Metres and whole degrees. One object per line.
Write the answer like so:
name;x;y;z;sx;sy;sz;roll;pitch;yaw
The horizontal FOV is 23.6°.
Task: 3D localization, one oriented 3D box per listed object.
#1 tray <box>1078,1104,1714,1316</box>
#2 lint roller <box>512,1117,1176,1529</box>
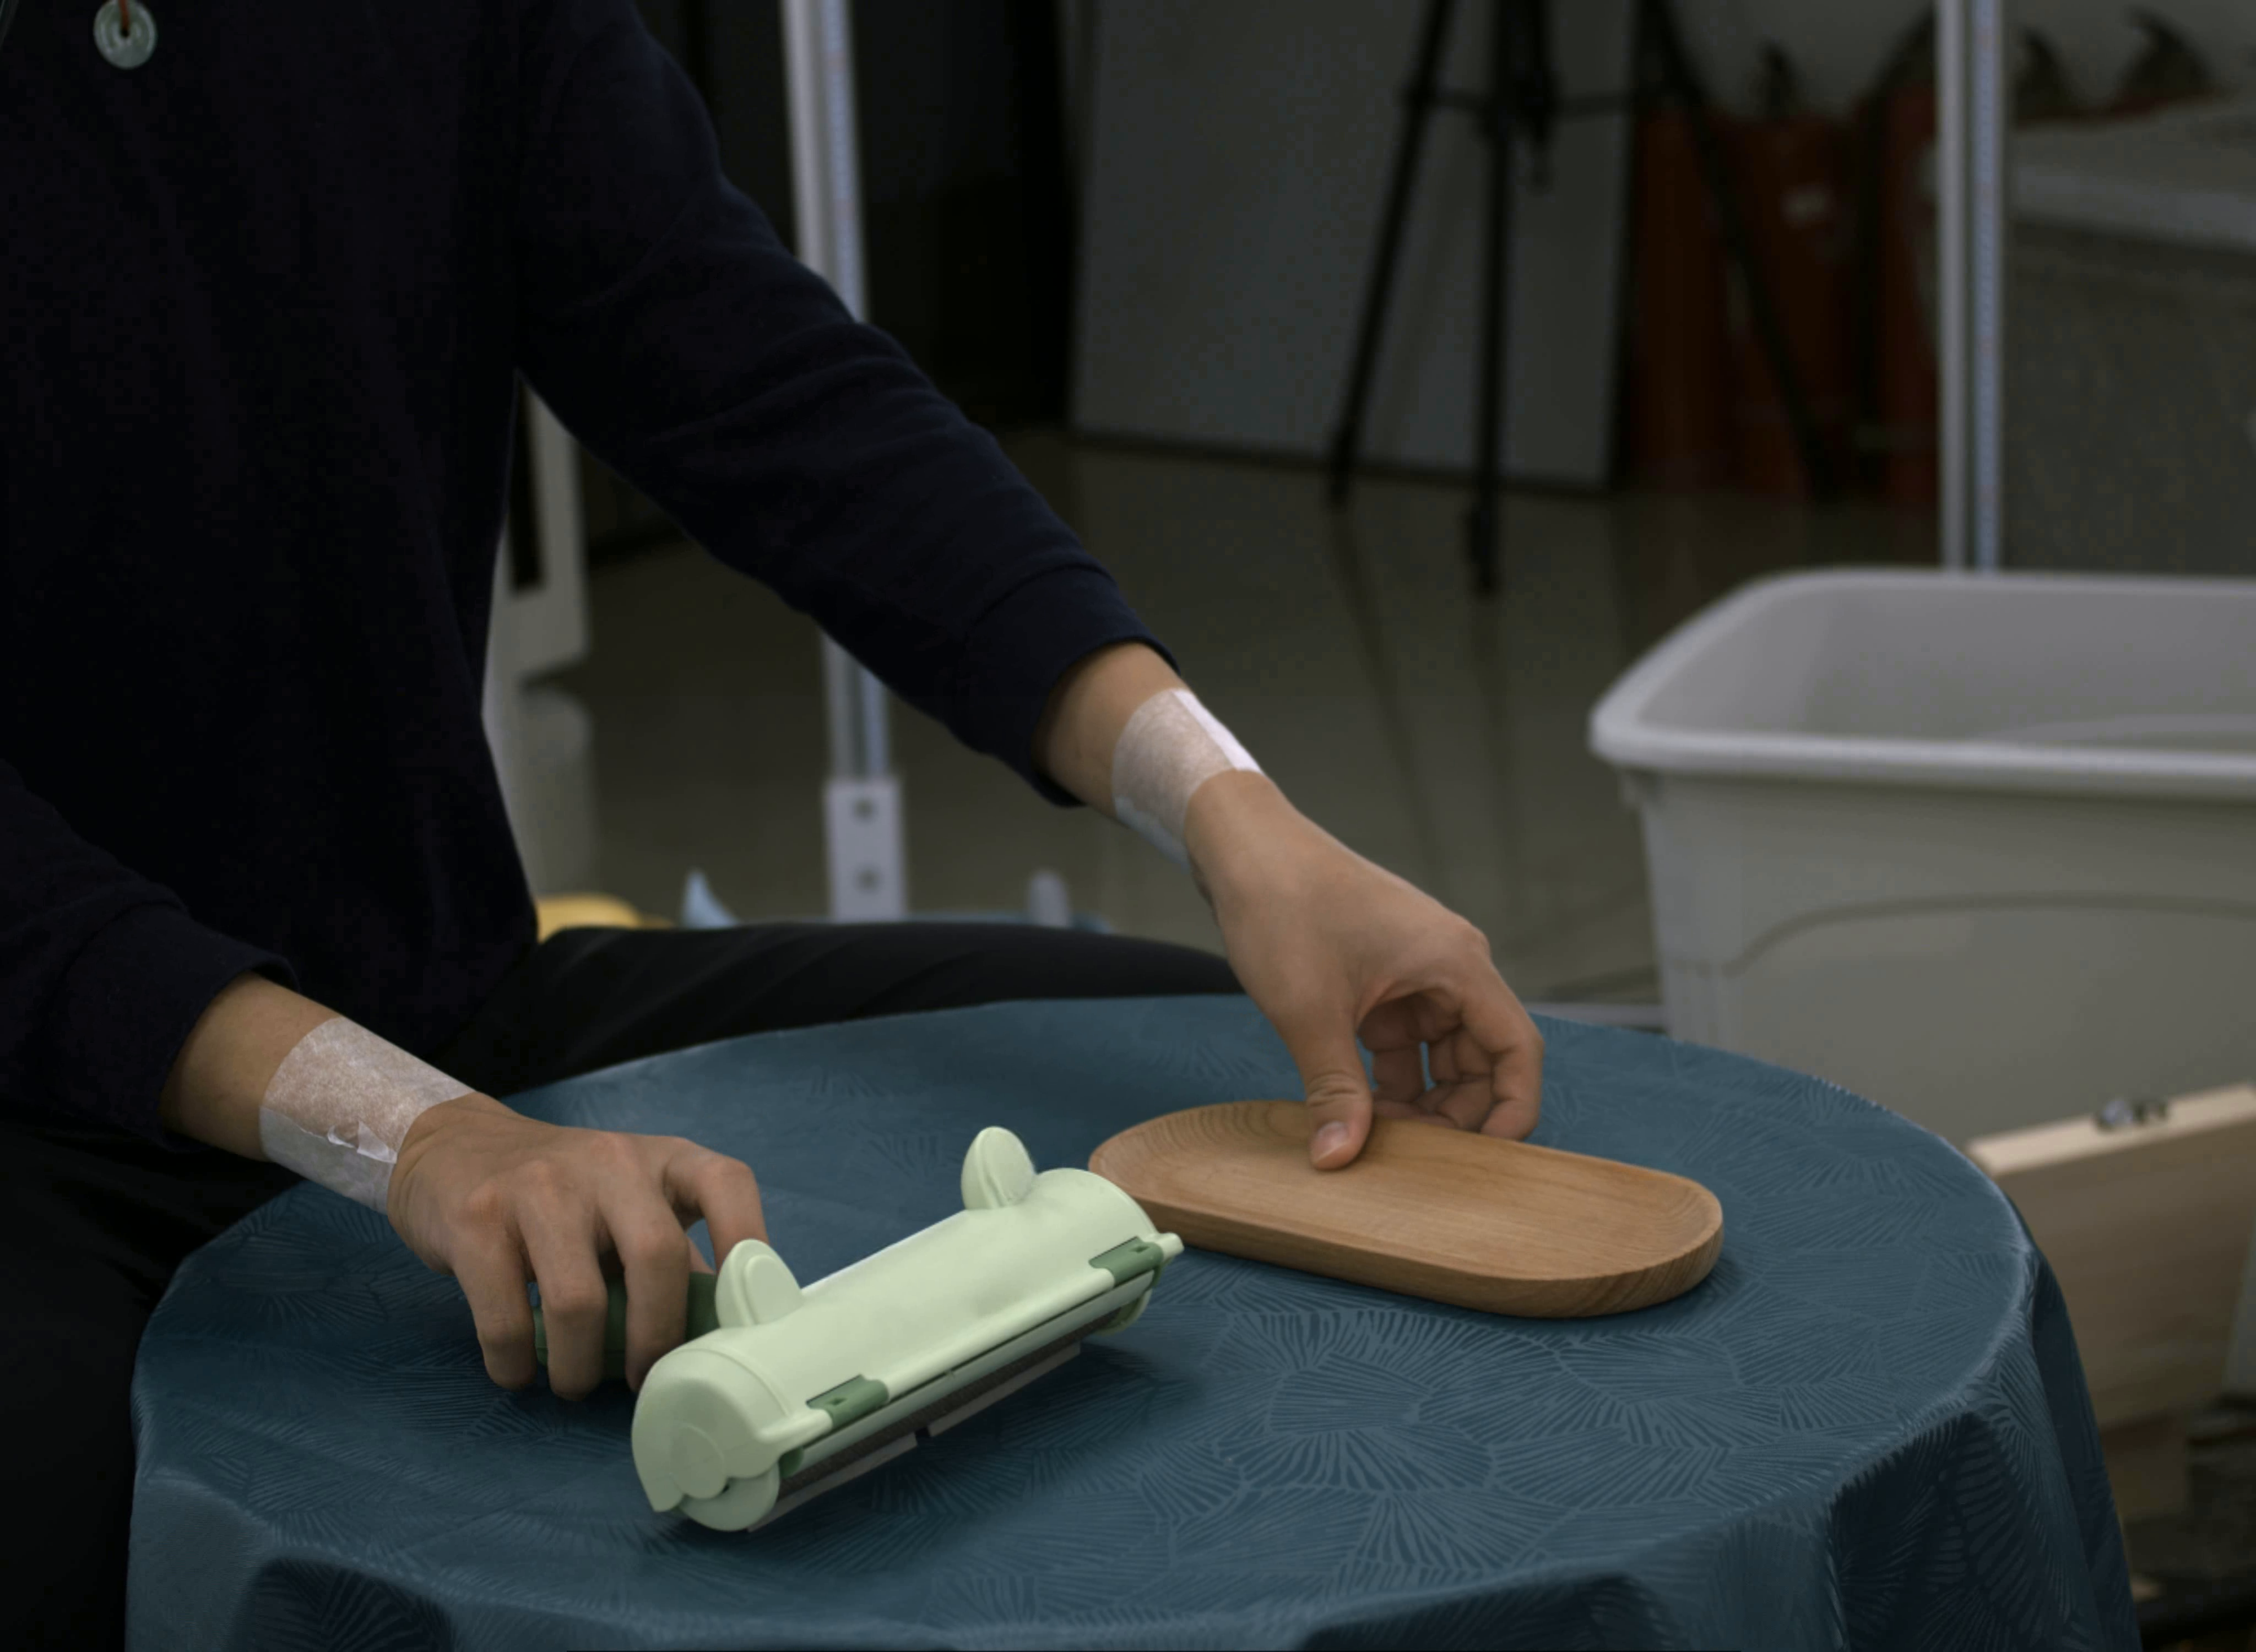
tray;0.083;0.121;1.710;0.233;0.020;0.100;6;19;42
lint roller;-0.110;0.131;1.583;0.184;0.083;0.195;12;20;34
